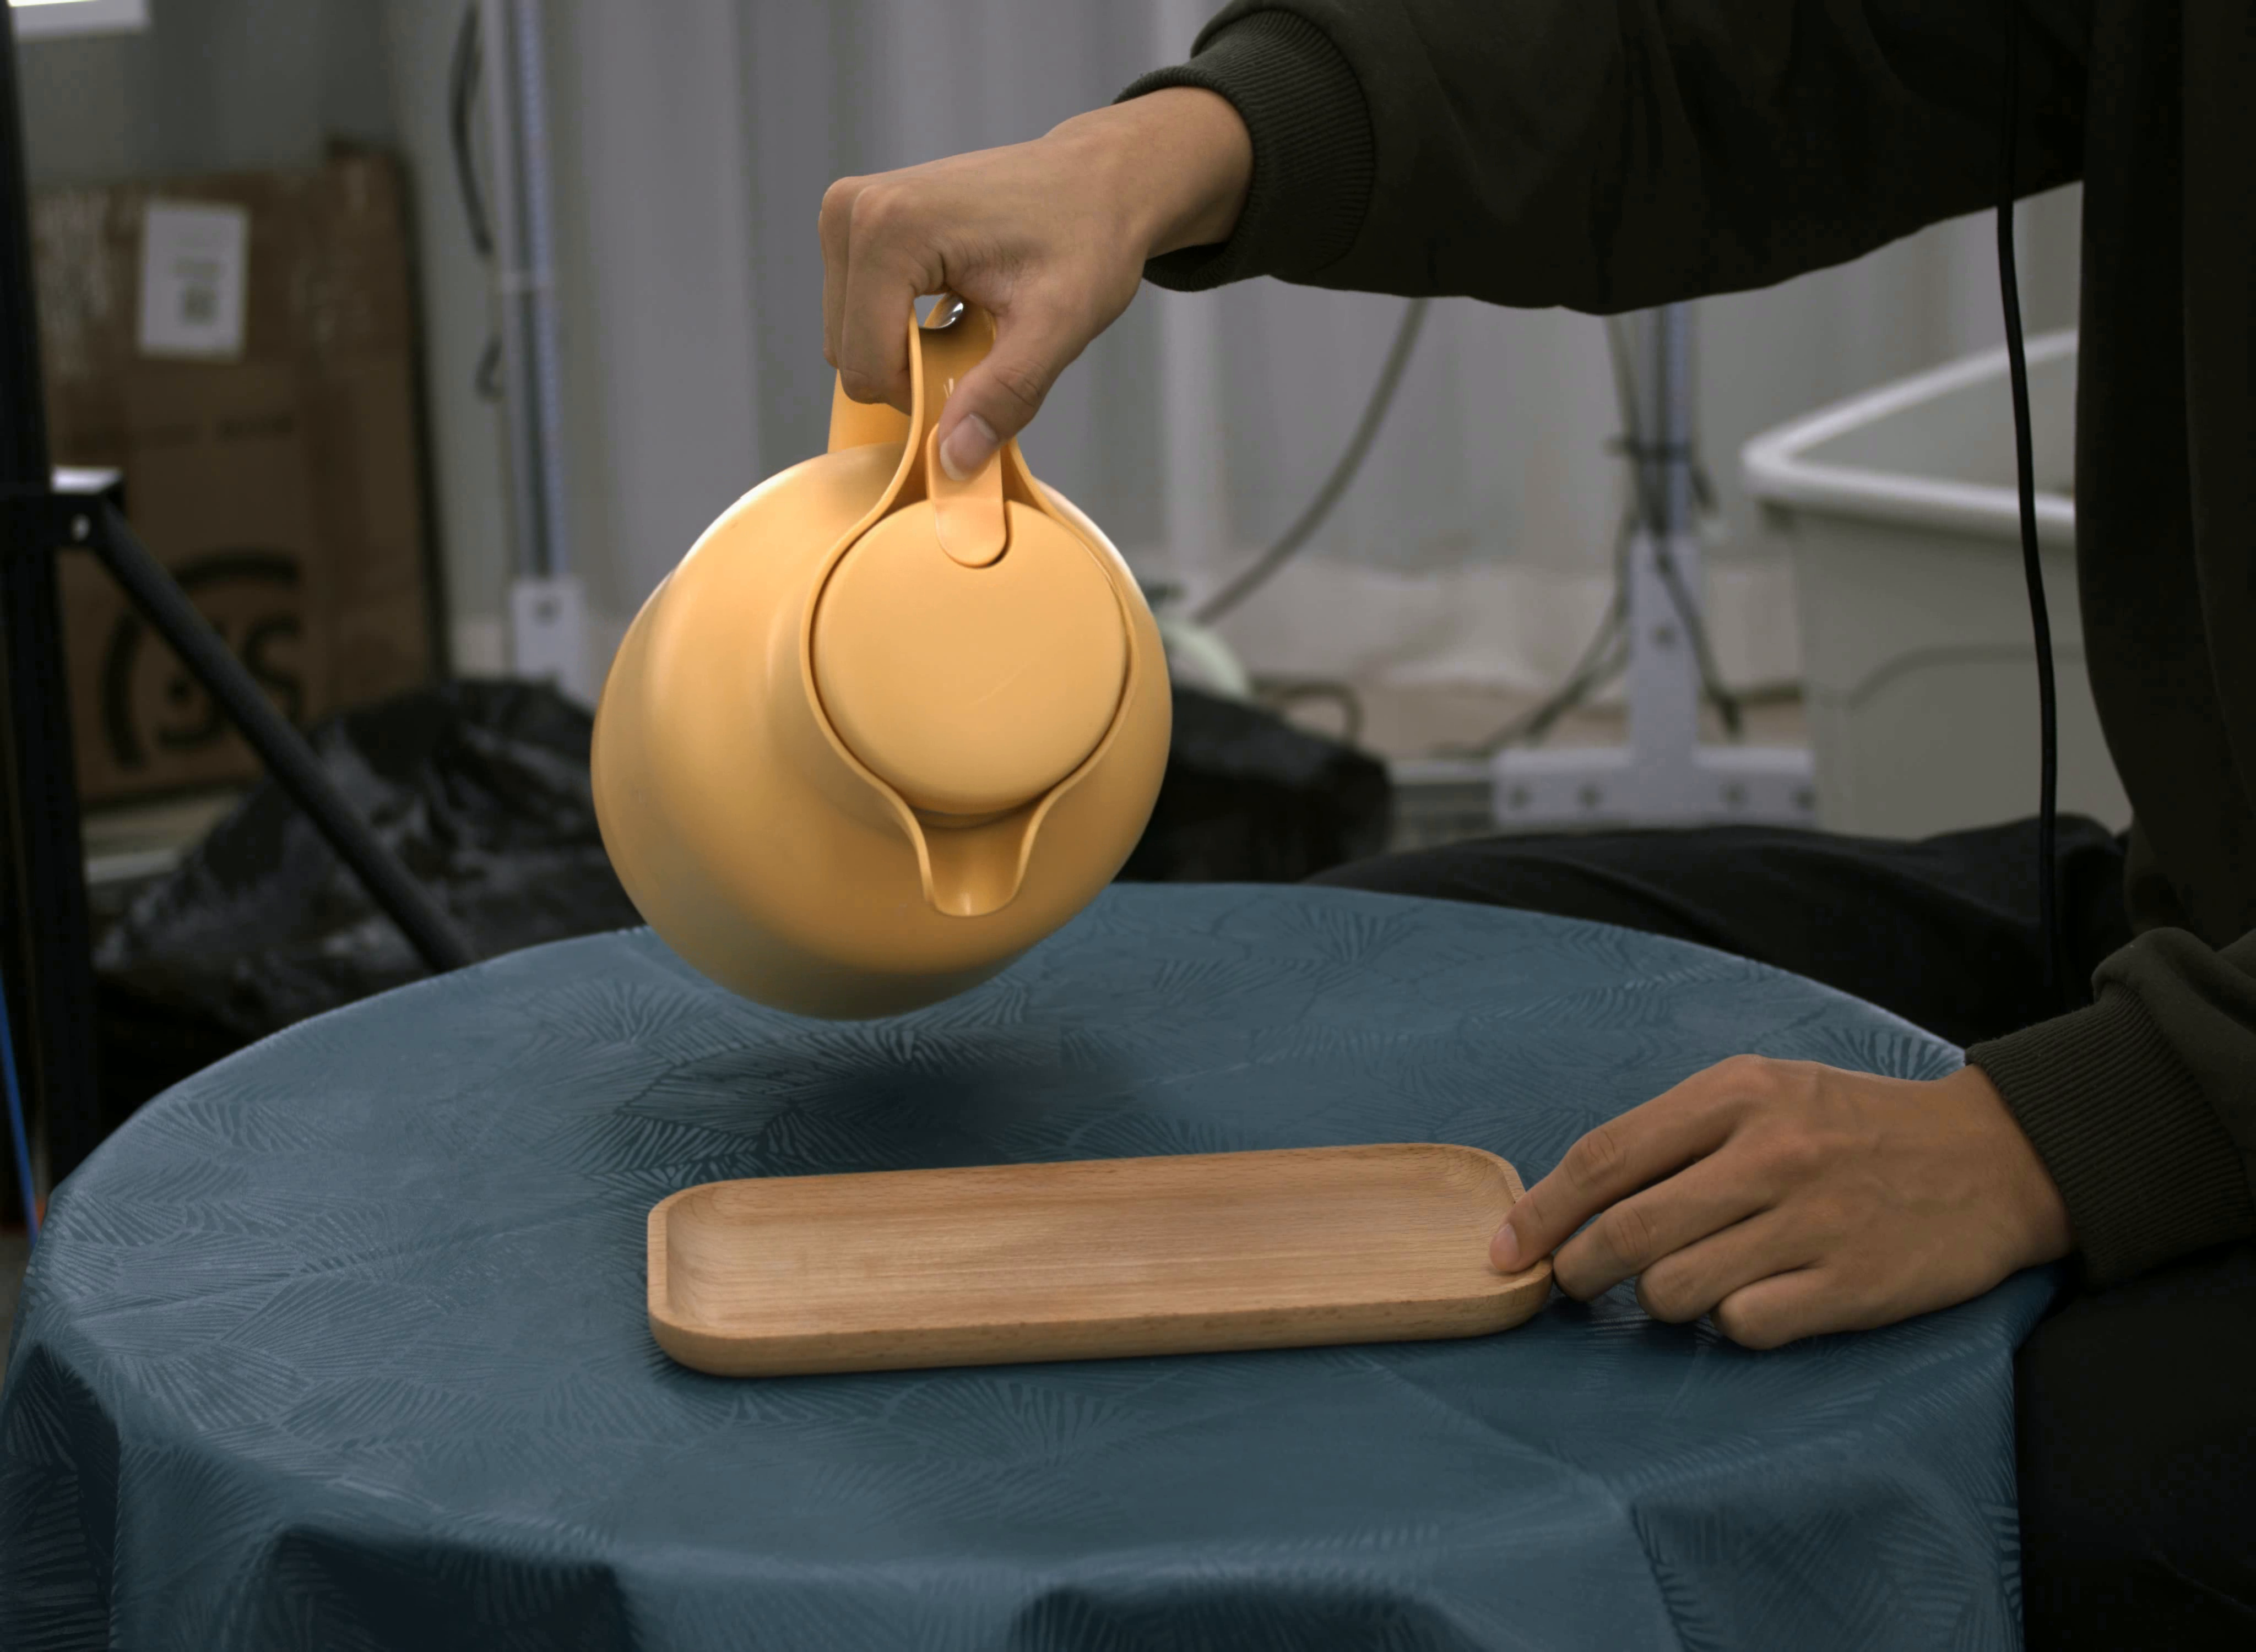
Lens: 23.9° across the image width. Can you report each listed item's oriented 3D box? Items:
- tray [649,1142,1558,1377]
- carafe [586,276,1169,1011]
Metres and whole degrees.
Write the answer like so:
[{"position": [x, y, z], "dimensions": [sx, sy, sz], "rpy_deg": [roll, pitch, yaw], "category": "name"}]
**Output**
[{"position": [-0.008, 0.121, 1.486], "dimensions": [0.249, 0.023, 0.131], "rpy_deg": [-2, 18, -1], "category": "tray"}, {"position": [-0.068, -0.053, 1.605], "dimensions": [0.161, 0.204, 0.262], "rpy_deg": [3, -7, -14], "category": "carafe"}]
